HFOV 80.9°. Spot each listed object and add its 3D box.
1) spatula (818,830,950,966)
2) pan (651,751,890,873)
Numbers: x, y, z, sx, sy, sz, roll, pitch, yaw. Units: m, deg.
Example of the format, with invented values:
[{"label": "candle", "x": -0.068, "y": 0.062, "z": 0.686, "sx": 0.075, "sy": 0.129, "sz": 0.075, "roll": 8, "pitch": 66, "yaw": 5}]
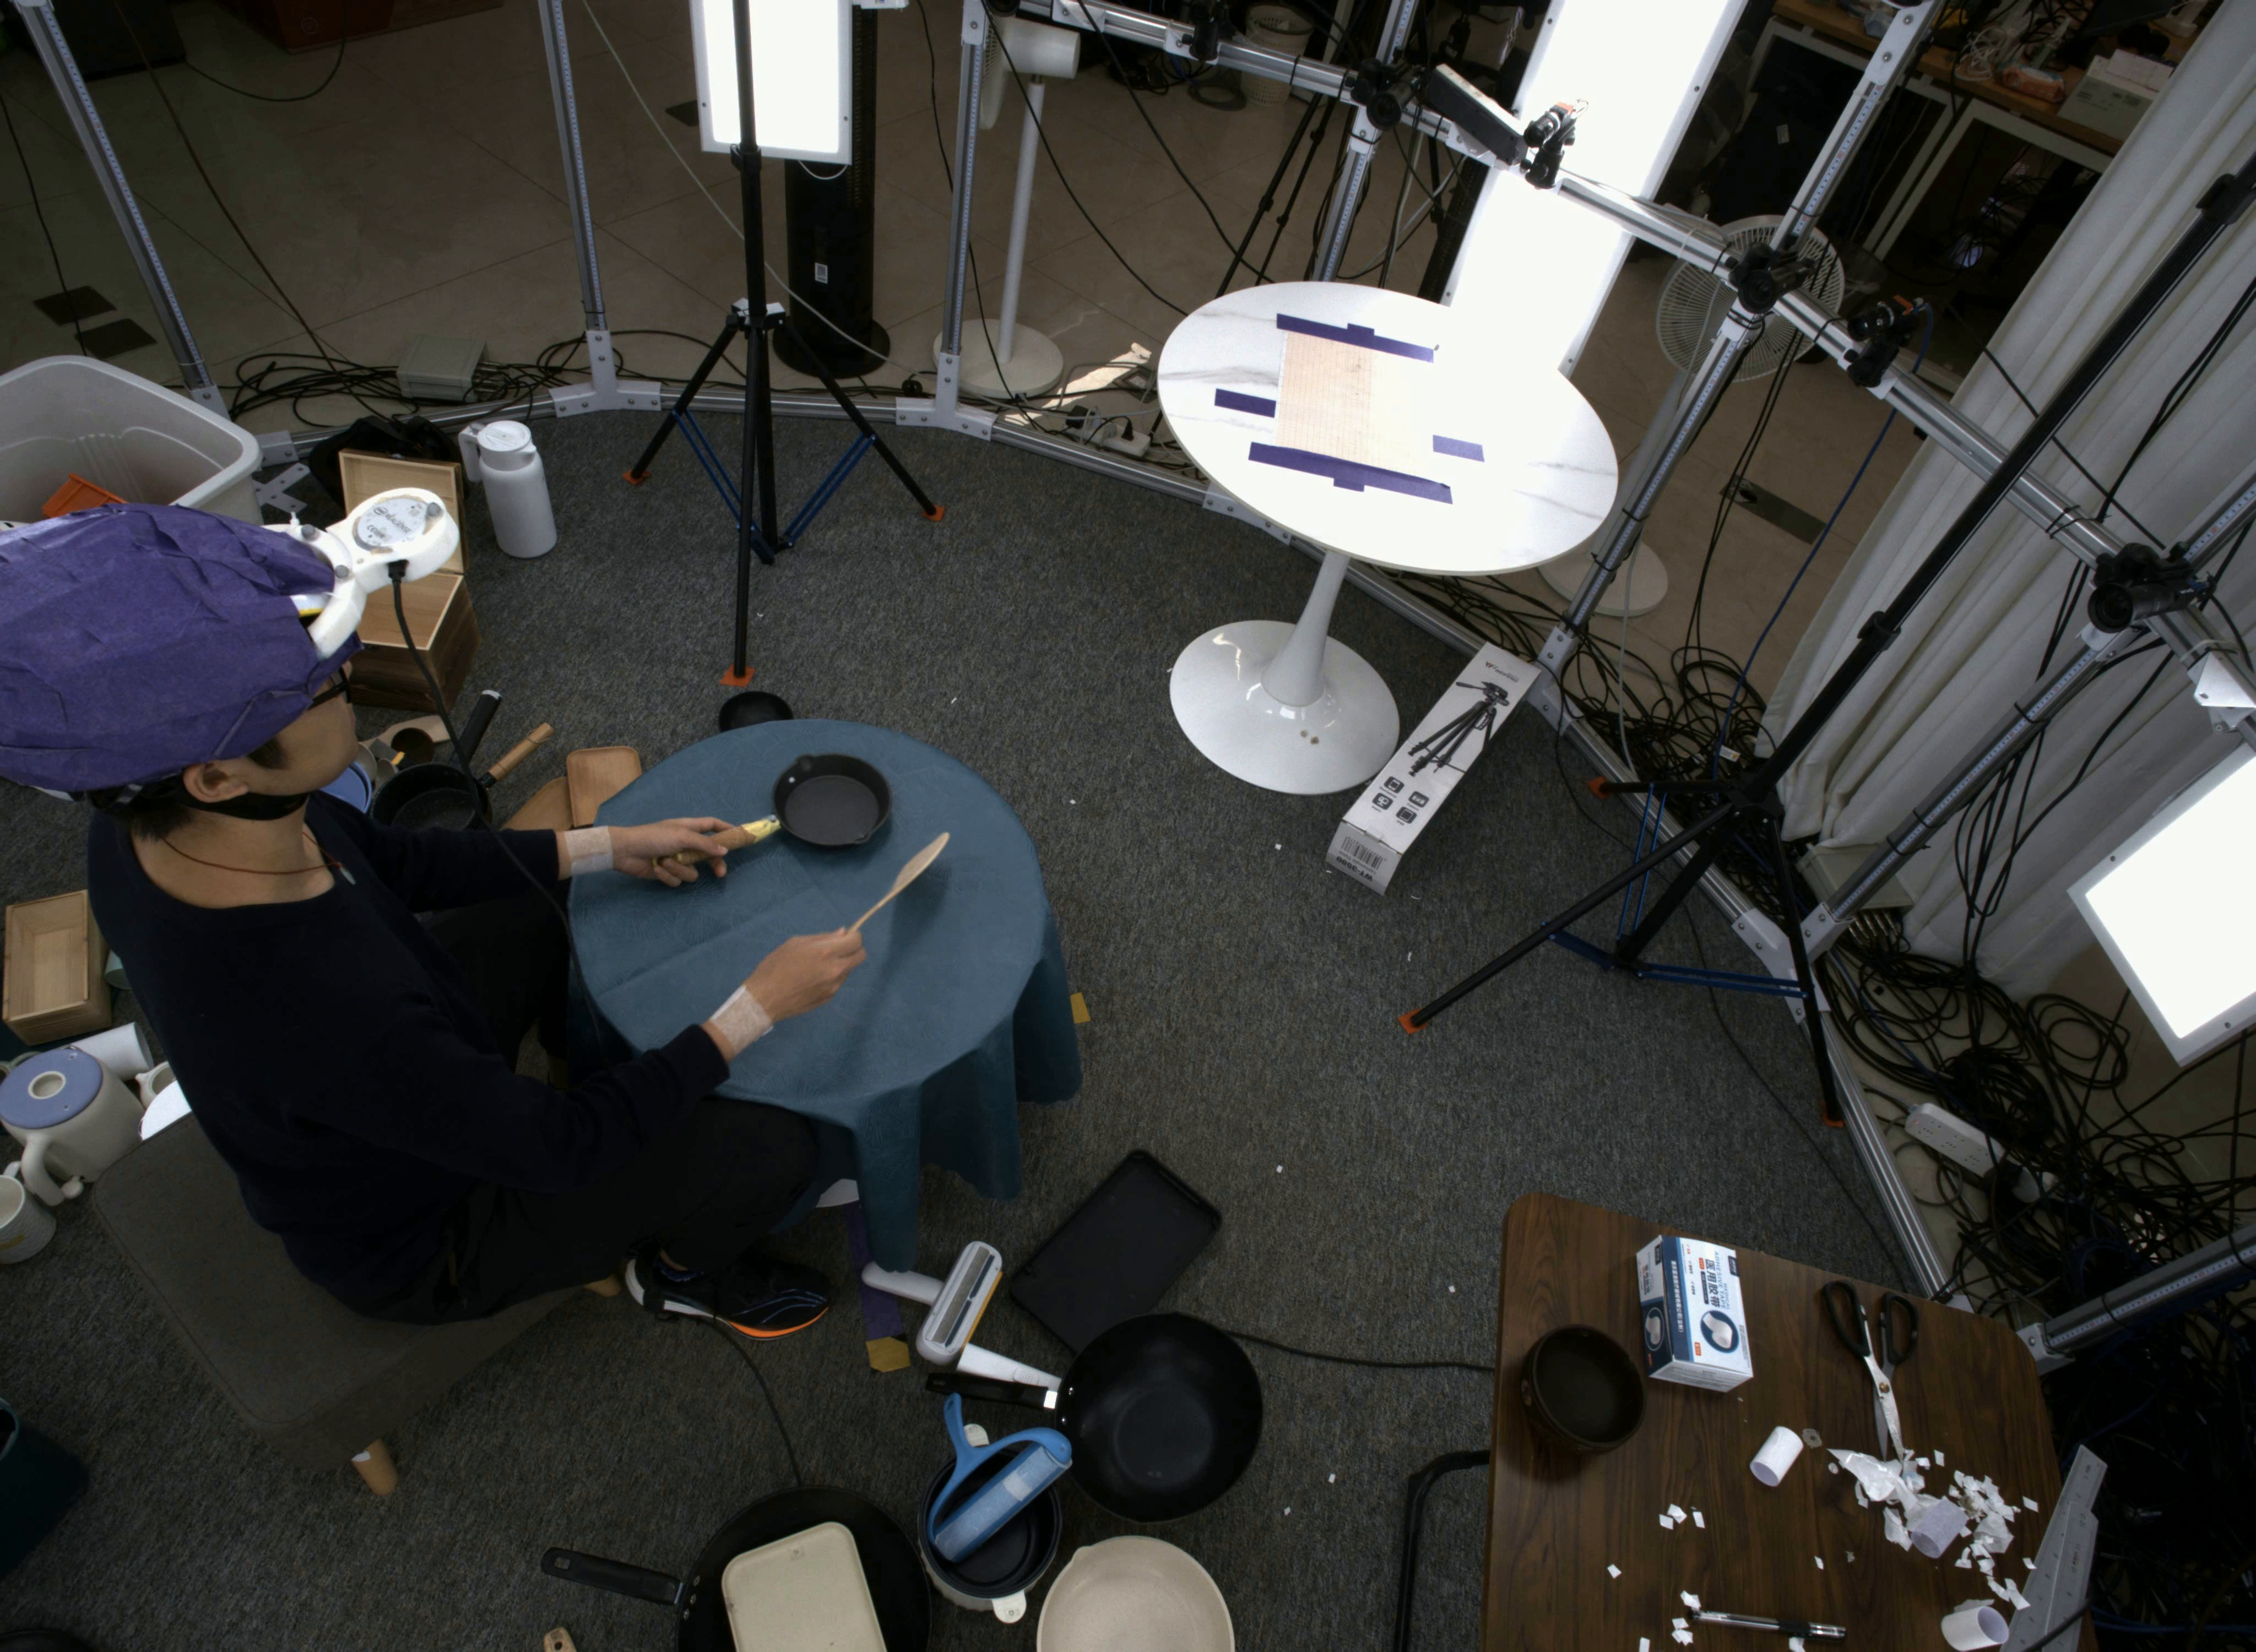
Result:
[{"label": "spatula", "x": -0.296, "y": 0.086, "z": 1.568, "sx": 0.017, "sy": 0.079, "sz": 0.325, "roll": 52, "pitch": 25, "yaw": -7}, {"label": "pan", "x": -0.462, "y": -0.004, "z": 1.674, "sx": 0.326, "sy": 0.050, "sz": 0.165, "roll": -23, "pitch": 63, "yaw": -30}]
